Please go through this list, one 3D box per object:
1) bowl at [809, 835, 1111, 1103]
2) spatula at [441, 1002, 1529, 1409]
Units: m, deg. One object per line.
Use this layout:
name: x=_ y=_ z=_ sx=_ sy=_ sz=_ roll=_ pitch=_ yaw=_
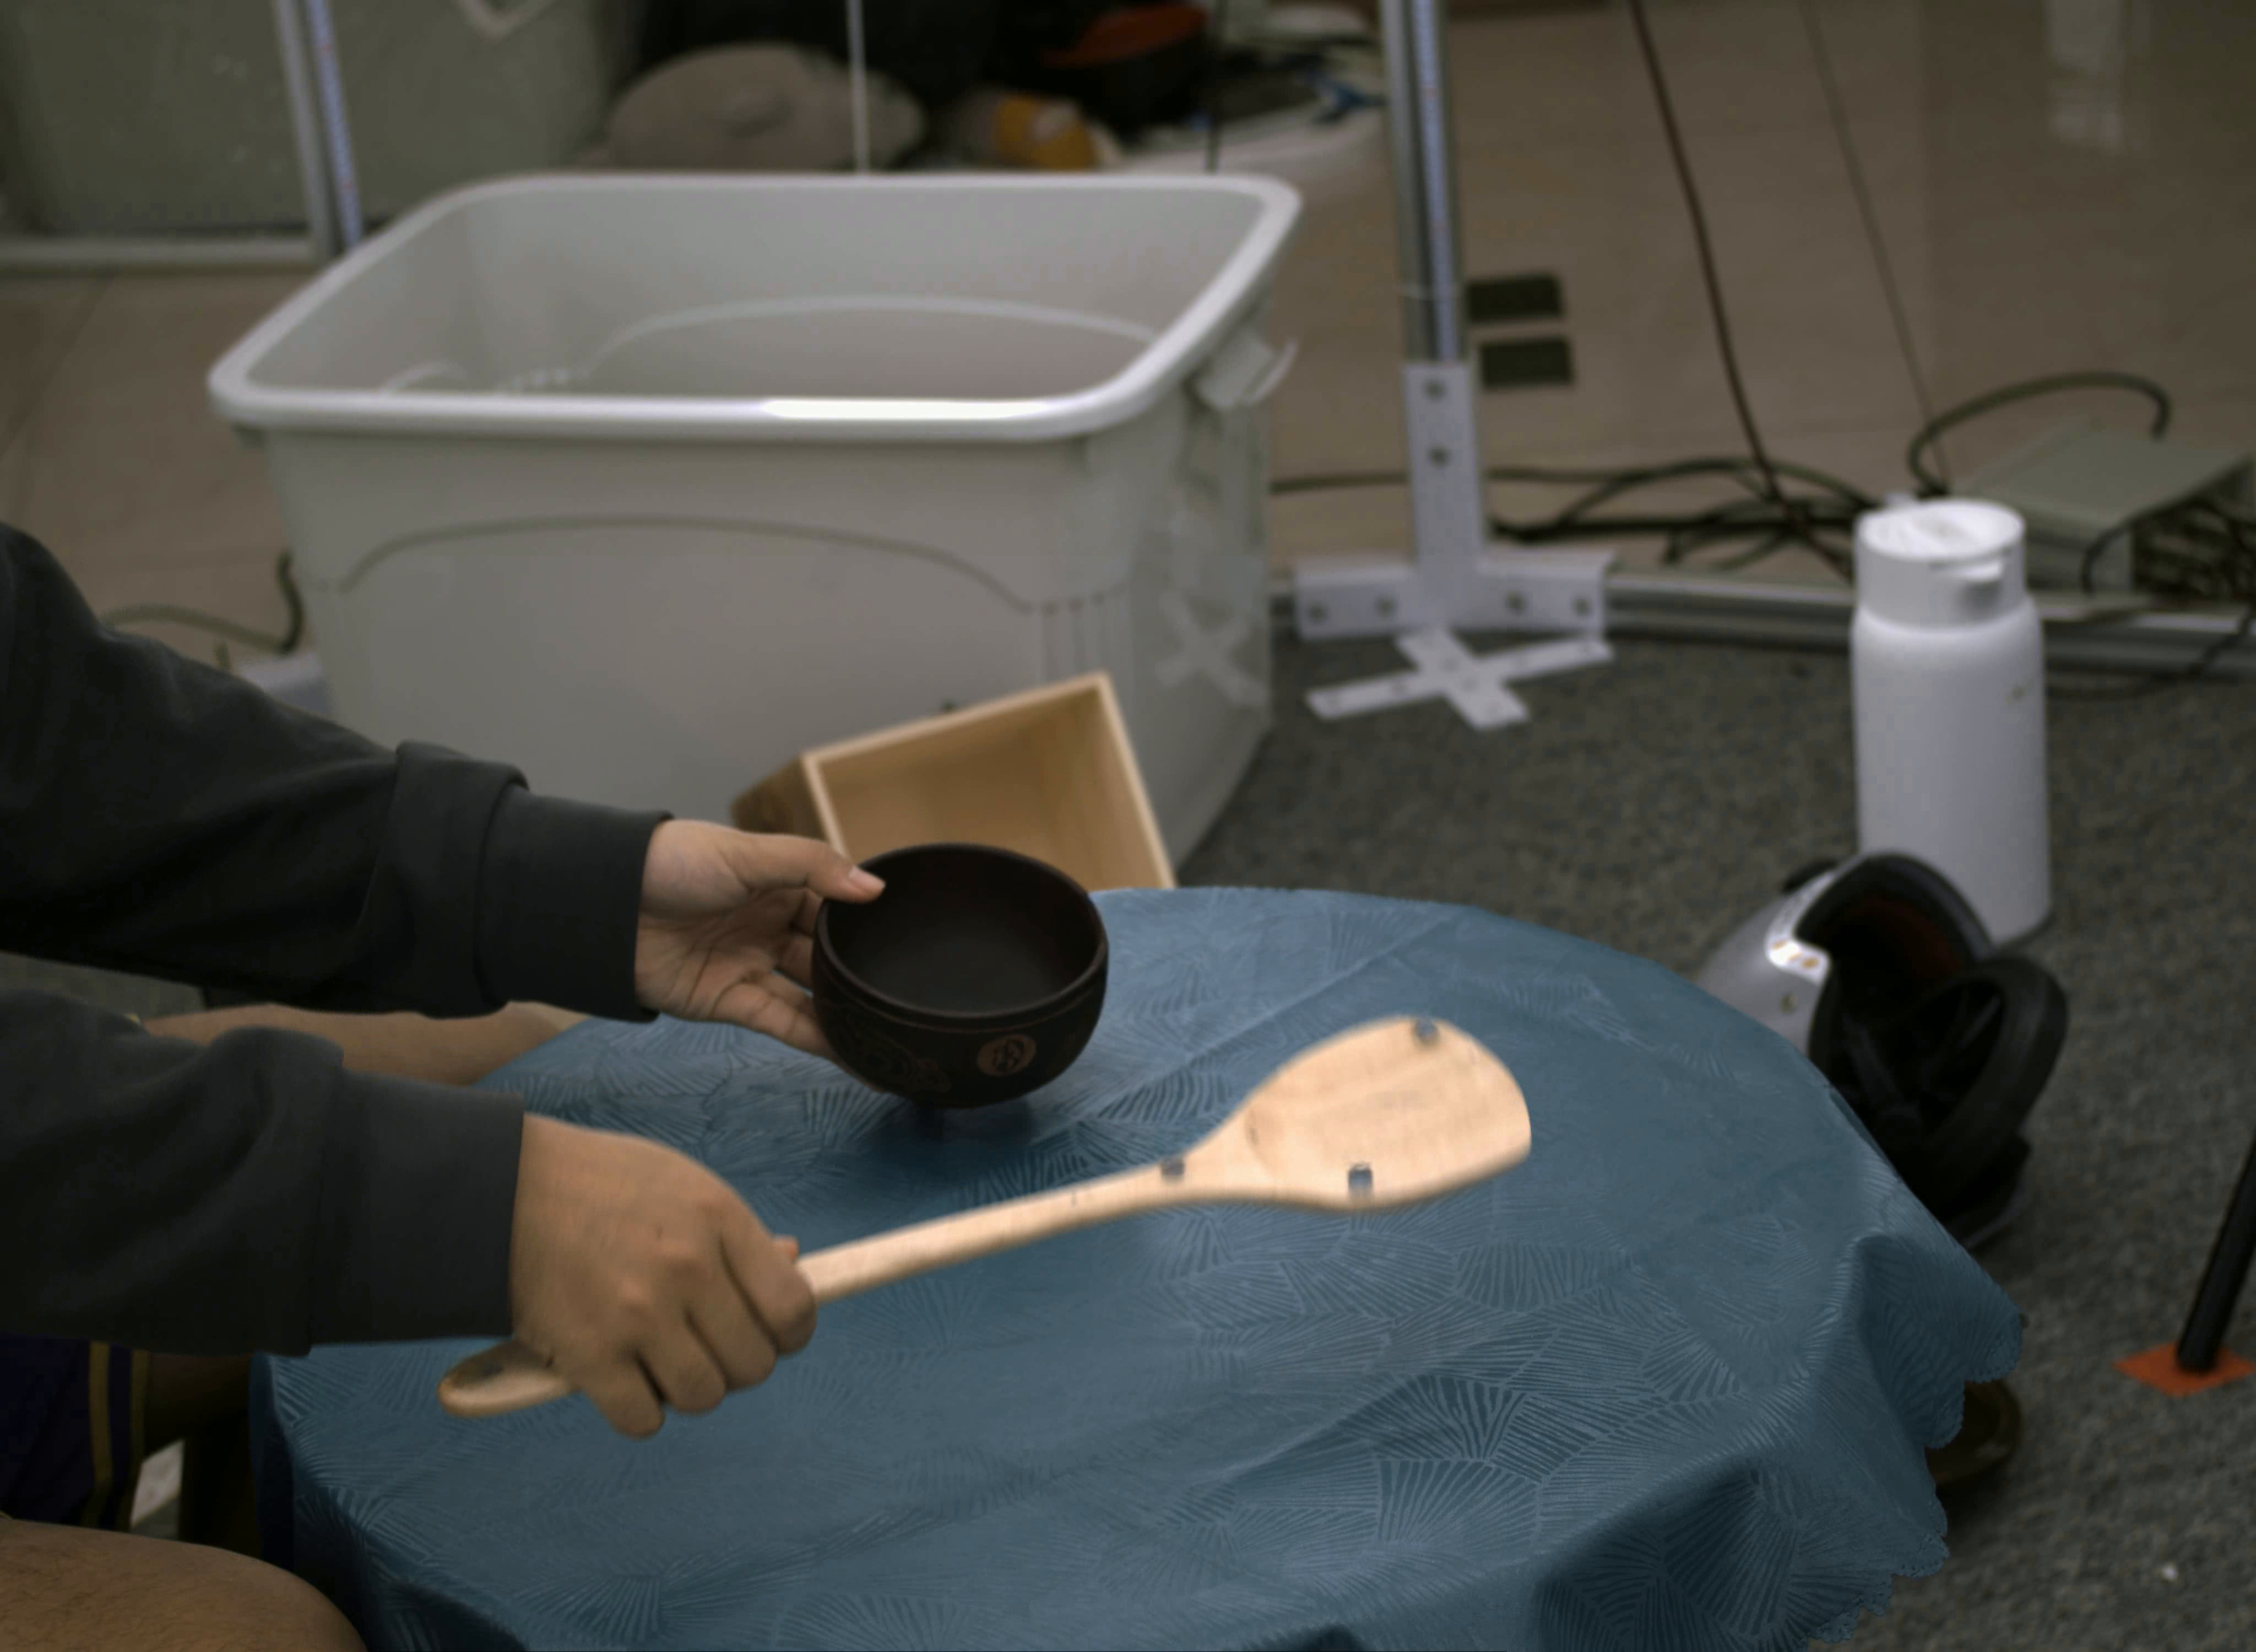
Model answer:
bowl: x=-0.067 y=0.064 z=2.213 sx=0.118 sy=0.071 sz=0.116 roll=4 pitch=35 yaw=-3
spatula: x=-0.047 y=0.136 z=1.938 sx=0.389 sy=0.019 sz=0.094 roll=-16 pitch=34 yaw=-17
